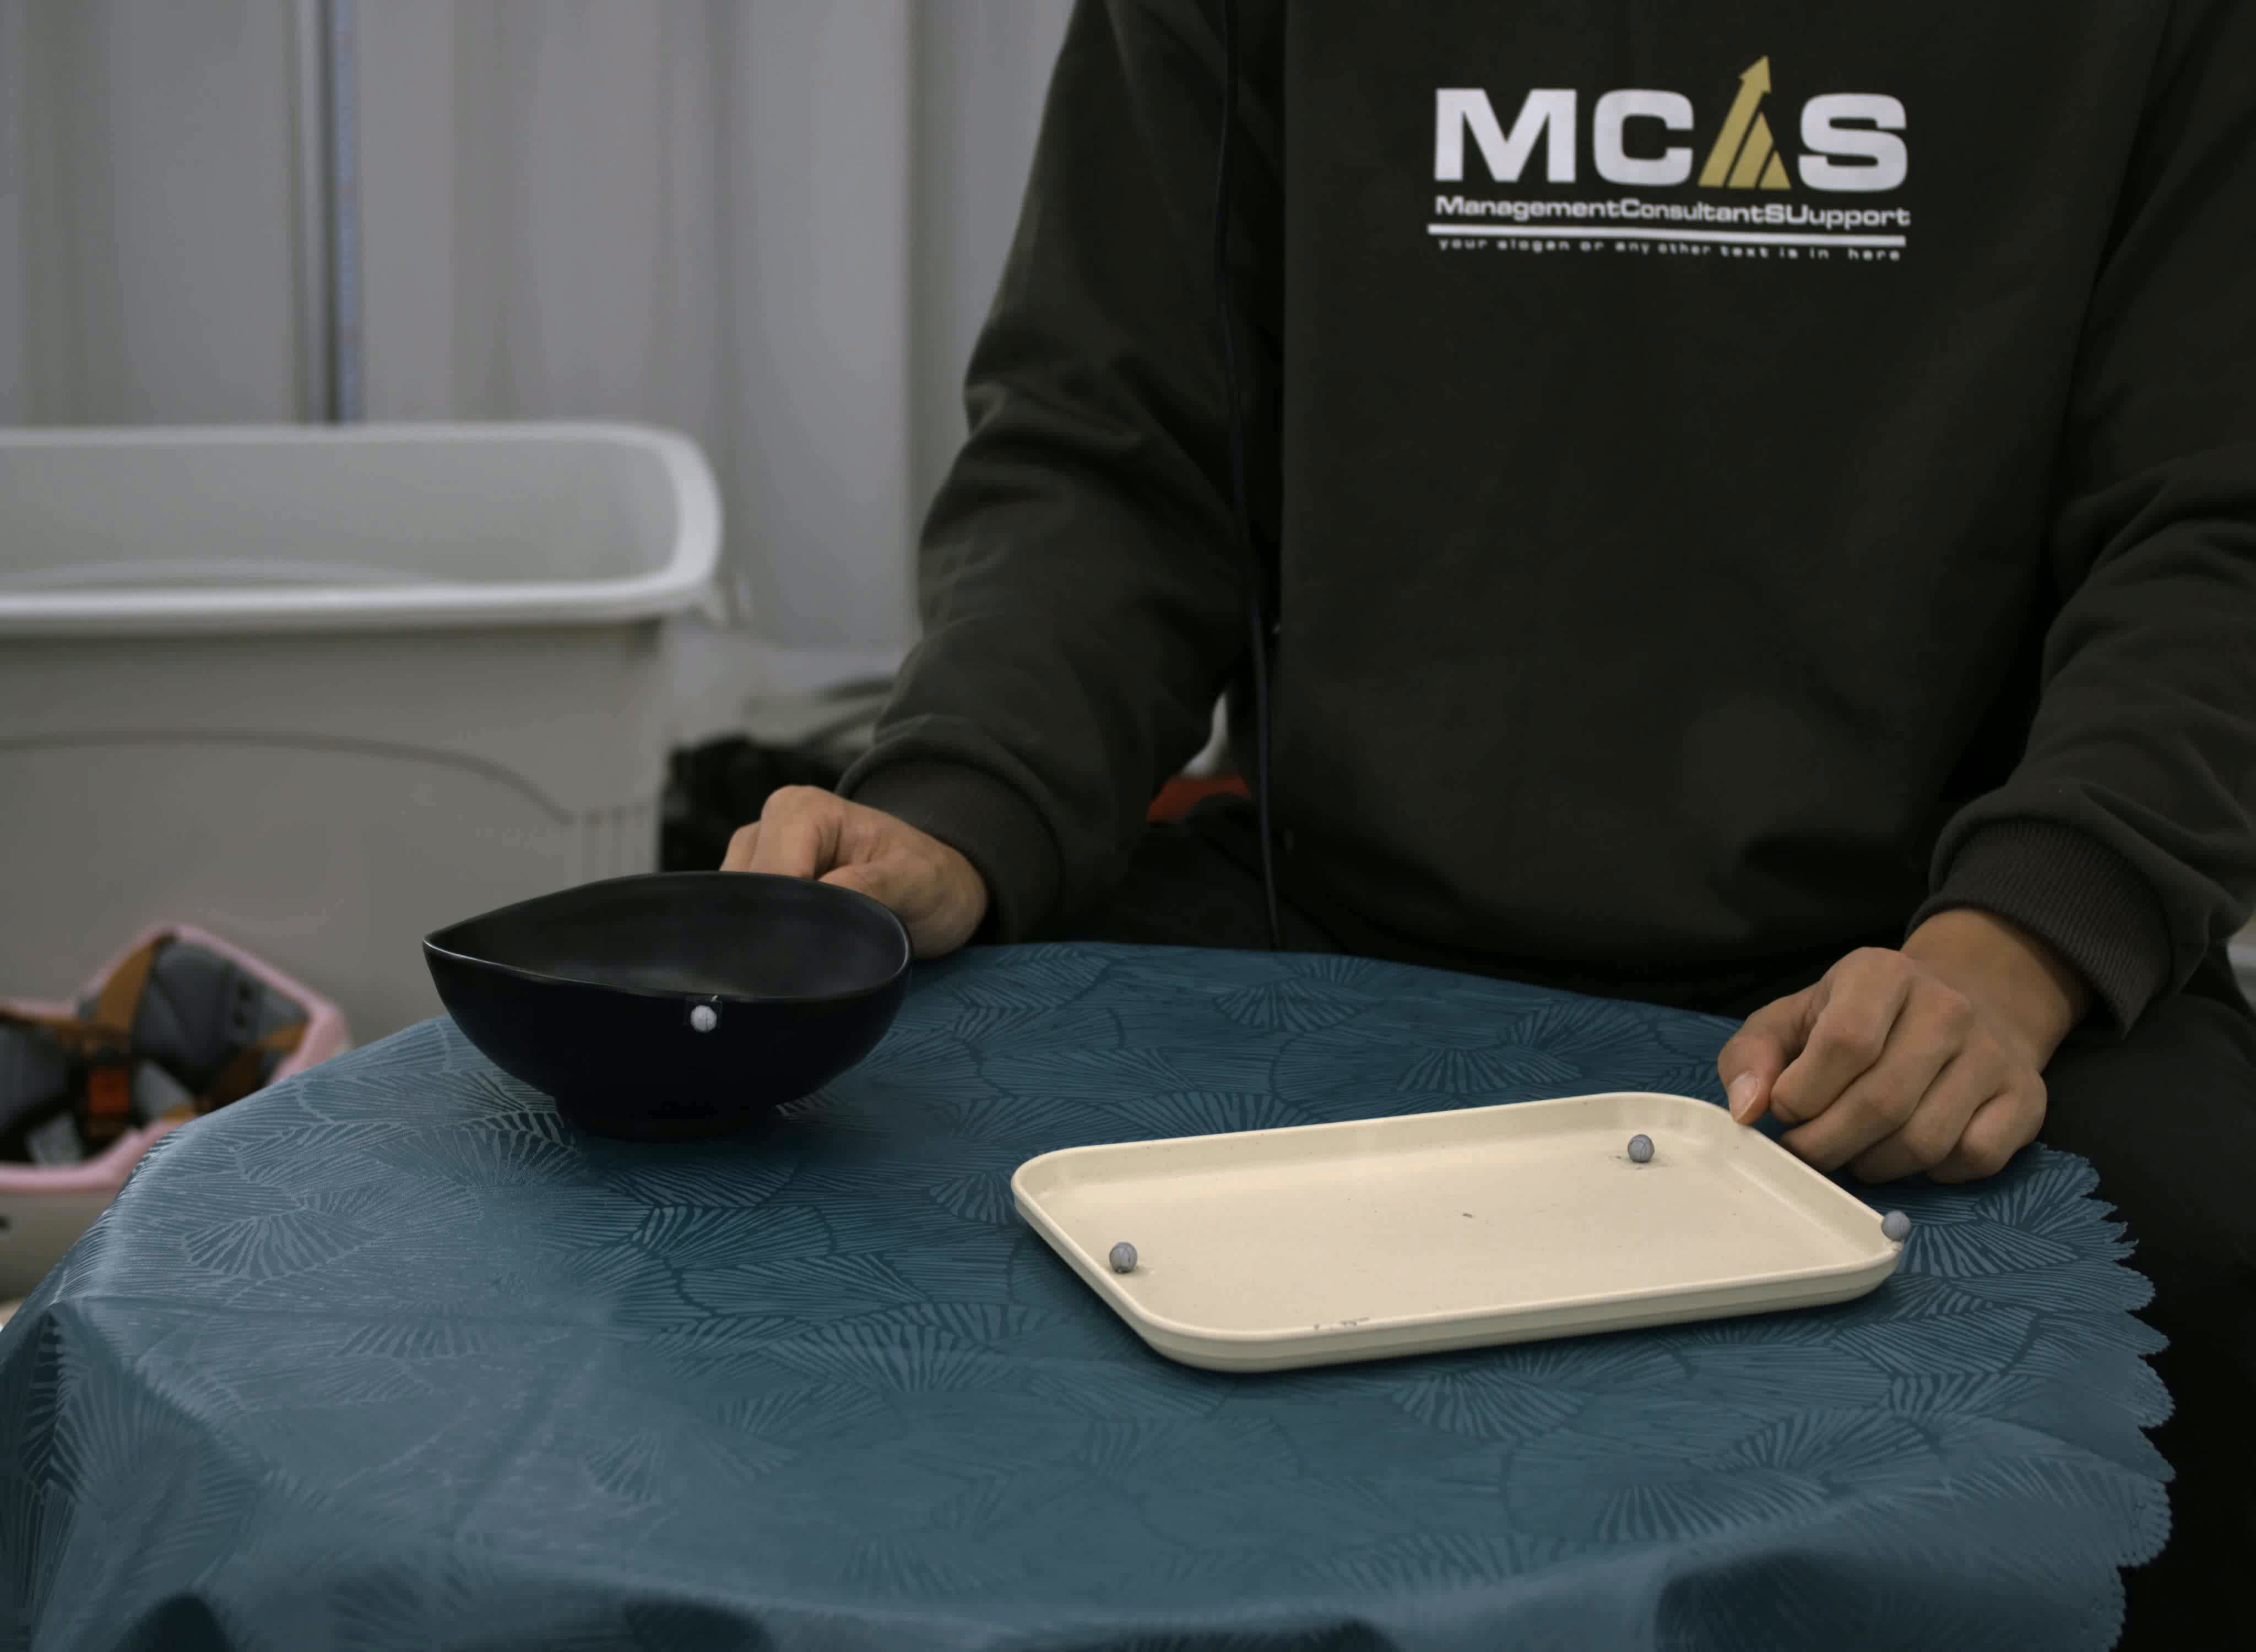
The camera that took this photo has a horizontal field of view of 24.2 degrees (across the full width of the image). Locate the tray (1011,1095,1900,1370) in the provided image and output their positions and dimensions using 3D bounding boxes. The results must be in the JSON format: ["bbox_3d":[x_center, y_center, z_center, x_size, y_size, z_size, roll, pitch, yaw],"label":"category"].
[{"bbox_3d":[0.096,0.121,1.573,0.240,0.017,0.169,-5,16,-20],"label":"tray"}]

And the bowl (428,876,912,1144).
[{"bbox_3d":[-0.148,0.062,1.687,0.168,0.067,0.138,9,16,31],"label":"bowl"}]
